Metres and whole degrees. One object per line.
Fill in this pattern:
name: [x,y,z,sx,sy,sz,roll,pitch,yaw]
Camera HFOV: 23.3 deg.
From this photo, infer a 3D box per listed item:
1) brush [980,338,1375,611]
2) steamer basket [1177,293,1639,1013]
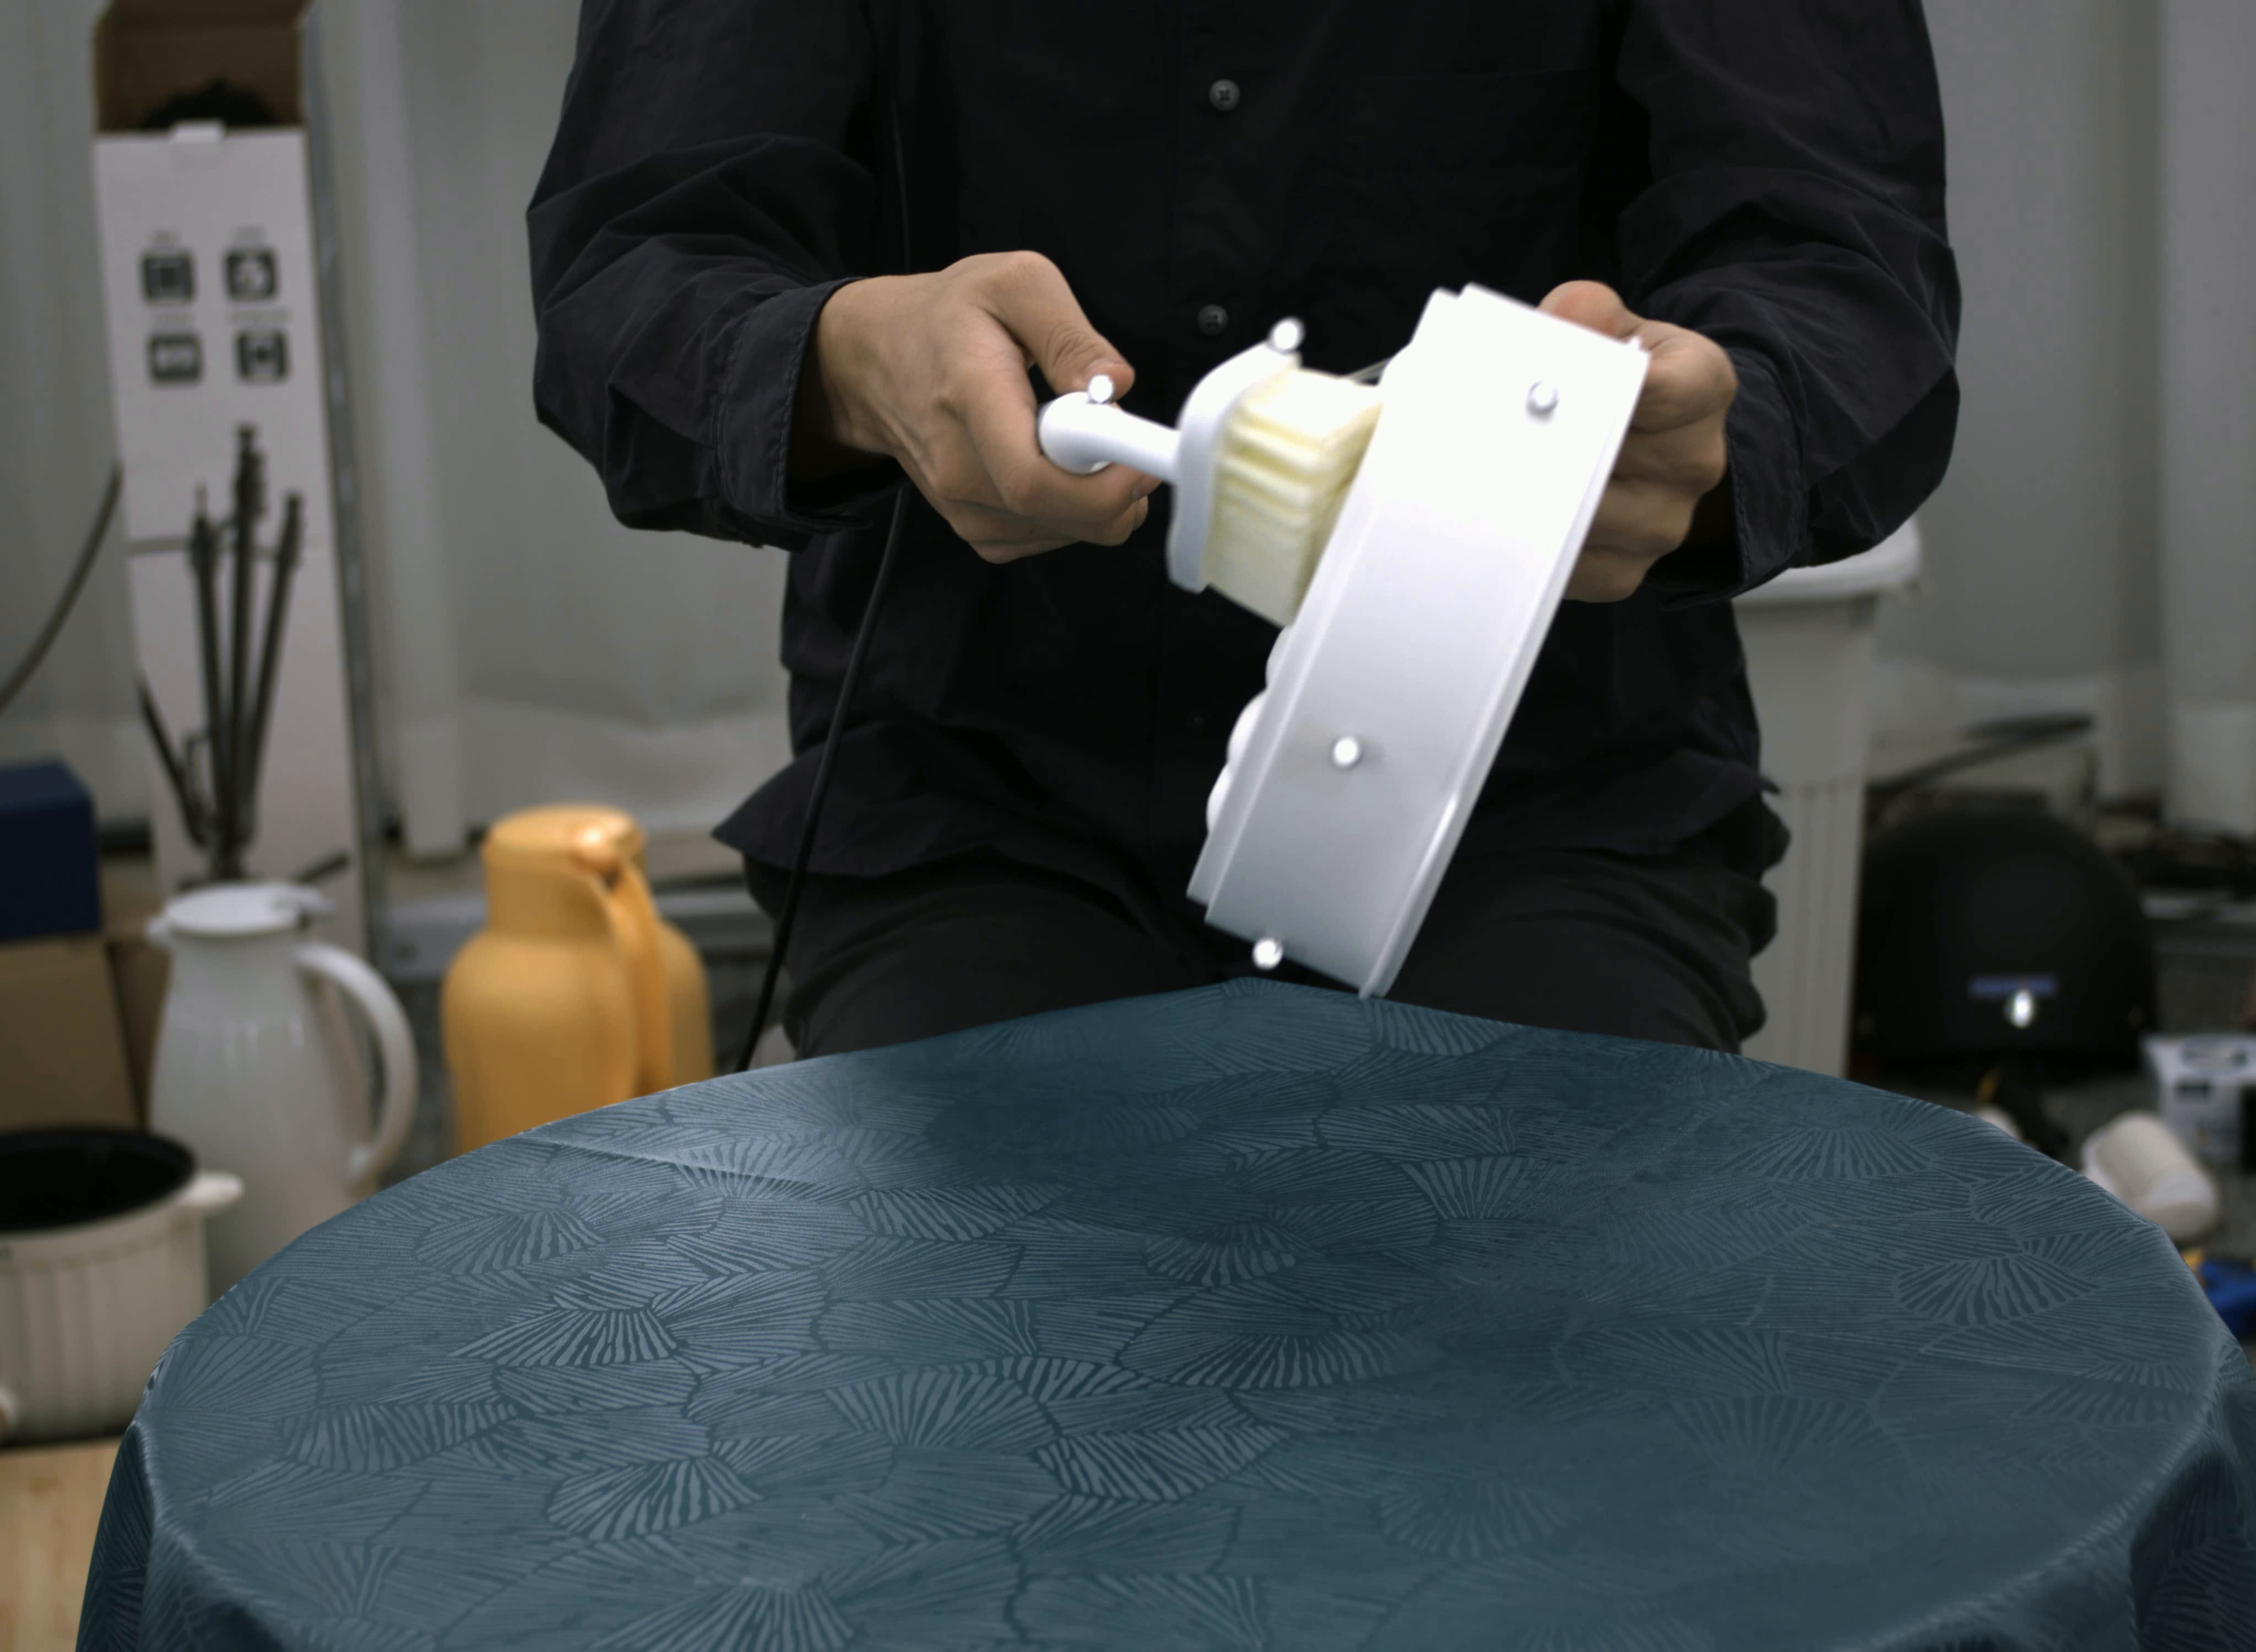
brush: [0.026,-0.105,1.612,0.083,0.084,0.326,-32,6,-7]
steamer basket: [0.075,-0.051,1.538,0.069,0.200,0.233,22,44,0]
